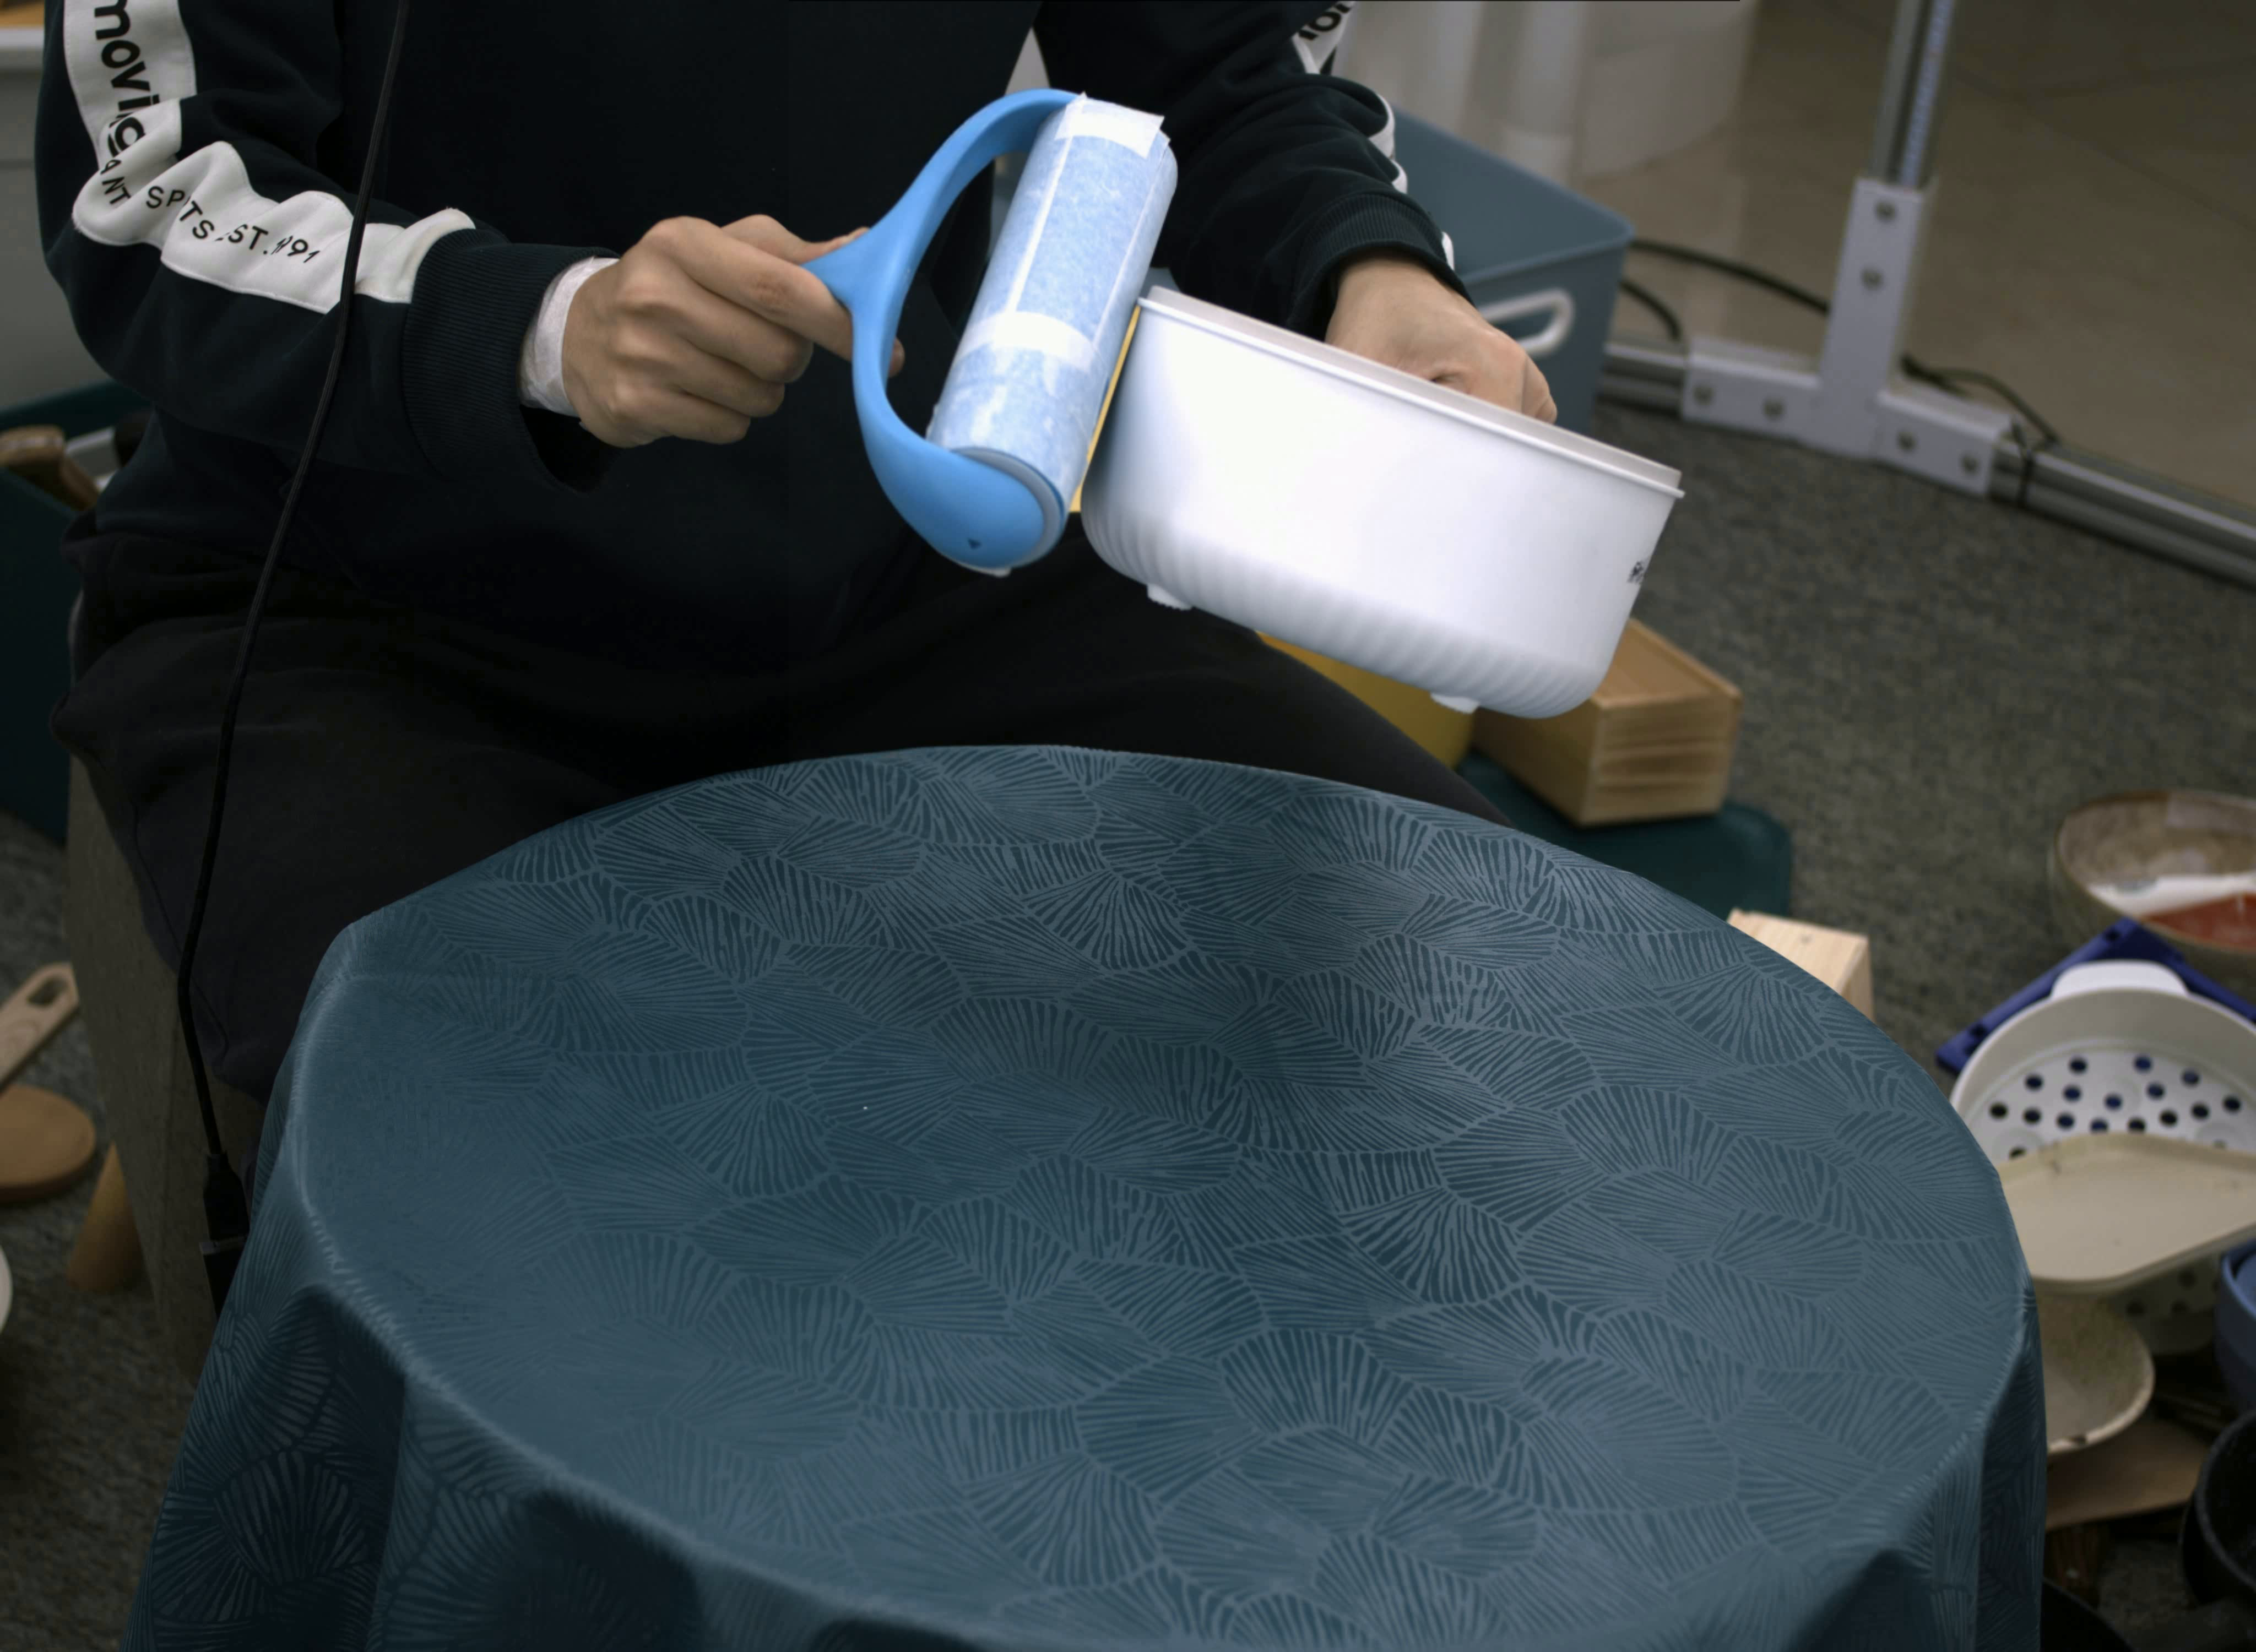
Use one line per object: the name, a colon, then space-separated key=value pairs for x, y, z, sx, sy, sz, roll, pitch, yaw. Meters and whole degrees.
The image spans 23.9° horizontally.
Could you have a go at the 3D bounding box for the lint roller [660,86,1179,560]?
lint roller: x=-0.084 y=-0.170 z=1.837 sx=0.180 sy=0.067 sz=0.230 roll=-3 pitch=43 yaw=15

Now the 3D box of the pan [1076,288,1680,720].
pan: x=0.090 y=-0.110 z=1.920 sx=0.201 sy=0.102 sz=0.354 roll=19 pitch=4 yaw=5
